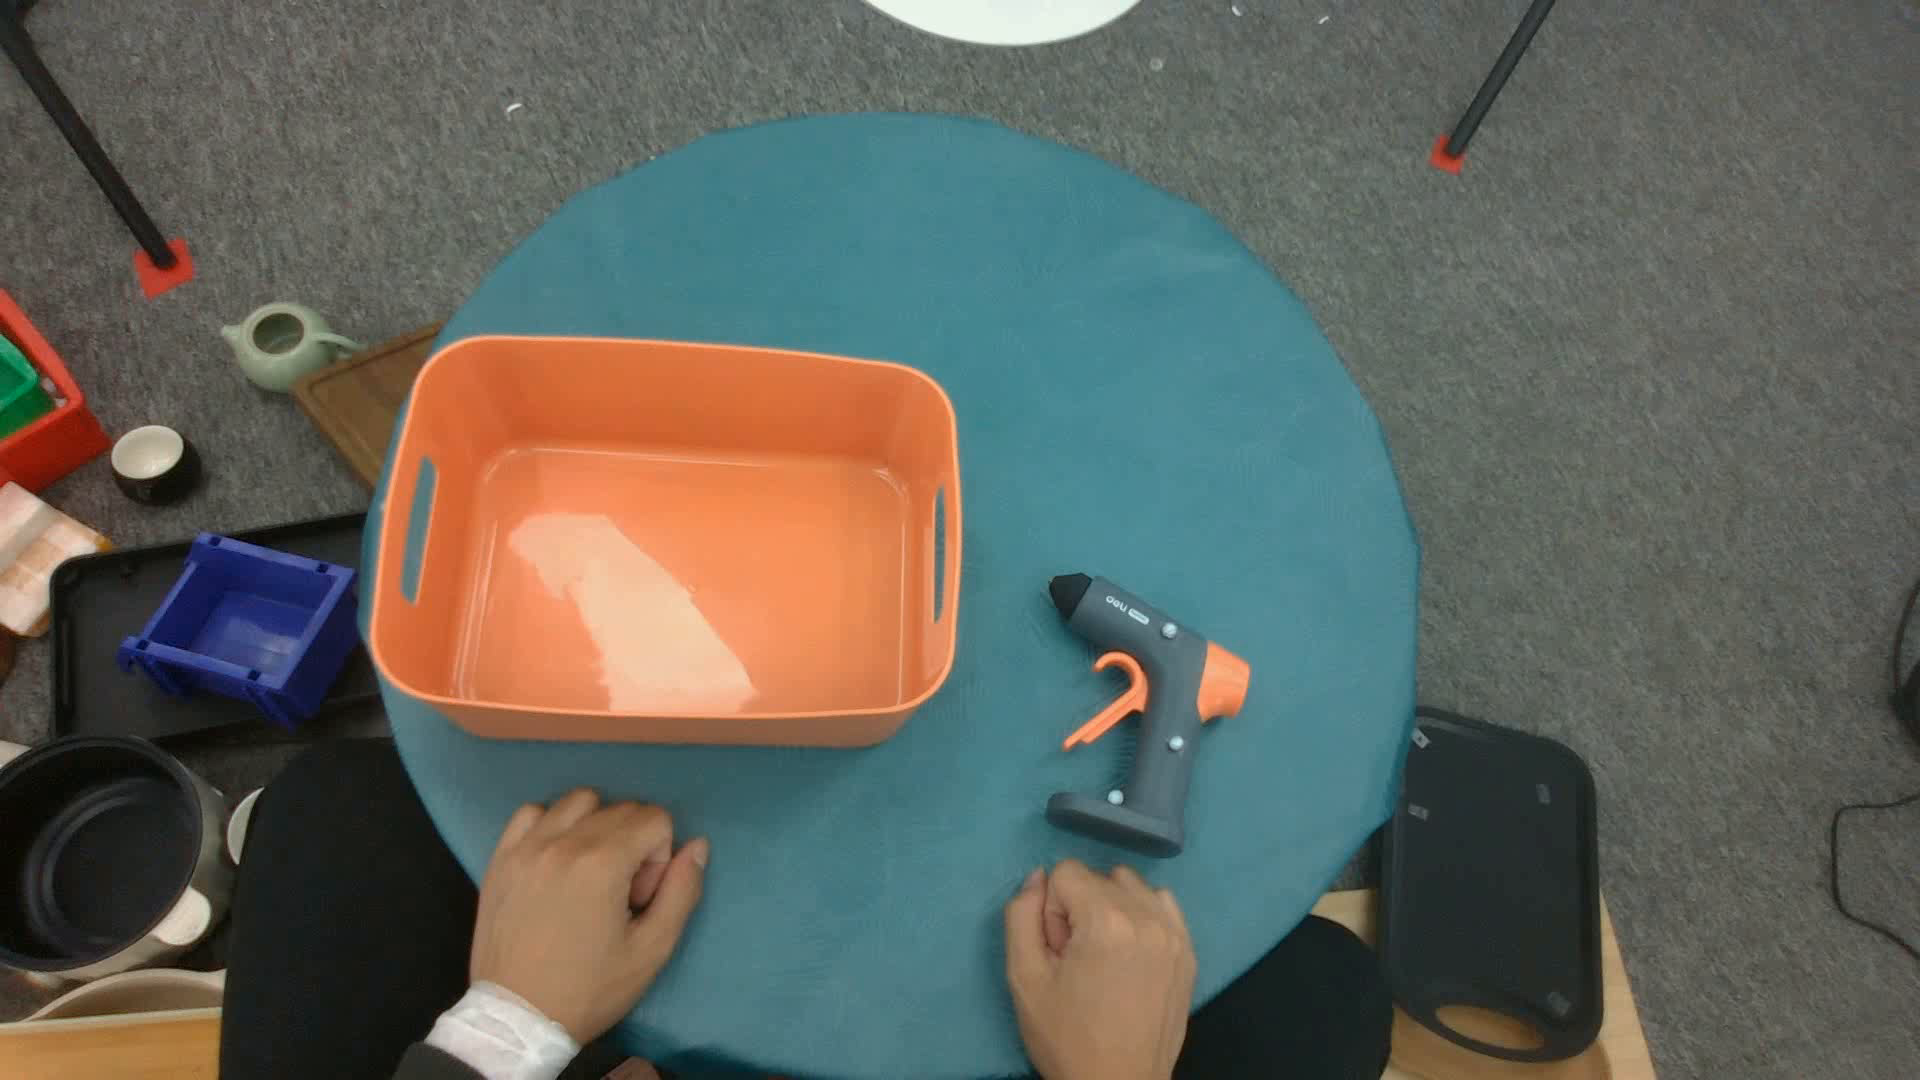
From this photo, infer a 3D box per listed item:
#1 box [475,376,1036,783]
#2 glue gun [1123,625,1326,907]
[{"bbox_3d":[-0.100,0.029,0.734,0.273,0.102,0.200,4,64,-4],"label":"box"},{"bbox_3d":[0.133,0.119,0.753,0.118,0.041,0.140,16,62,4],"label":"glue gun"}]
